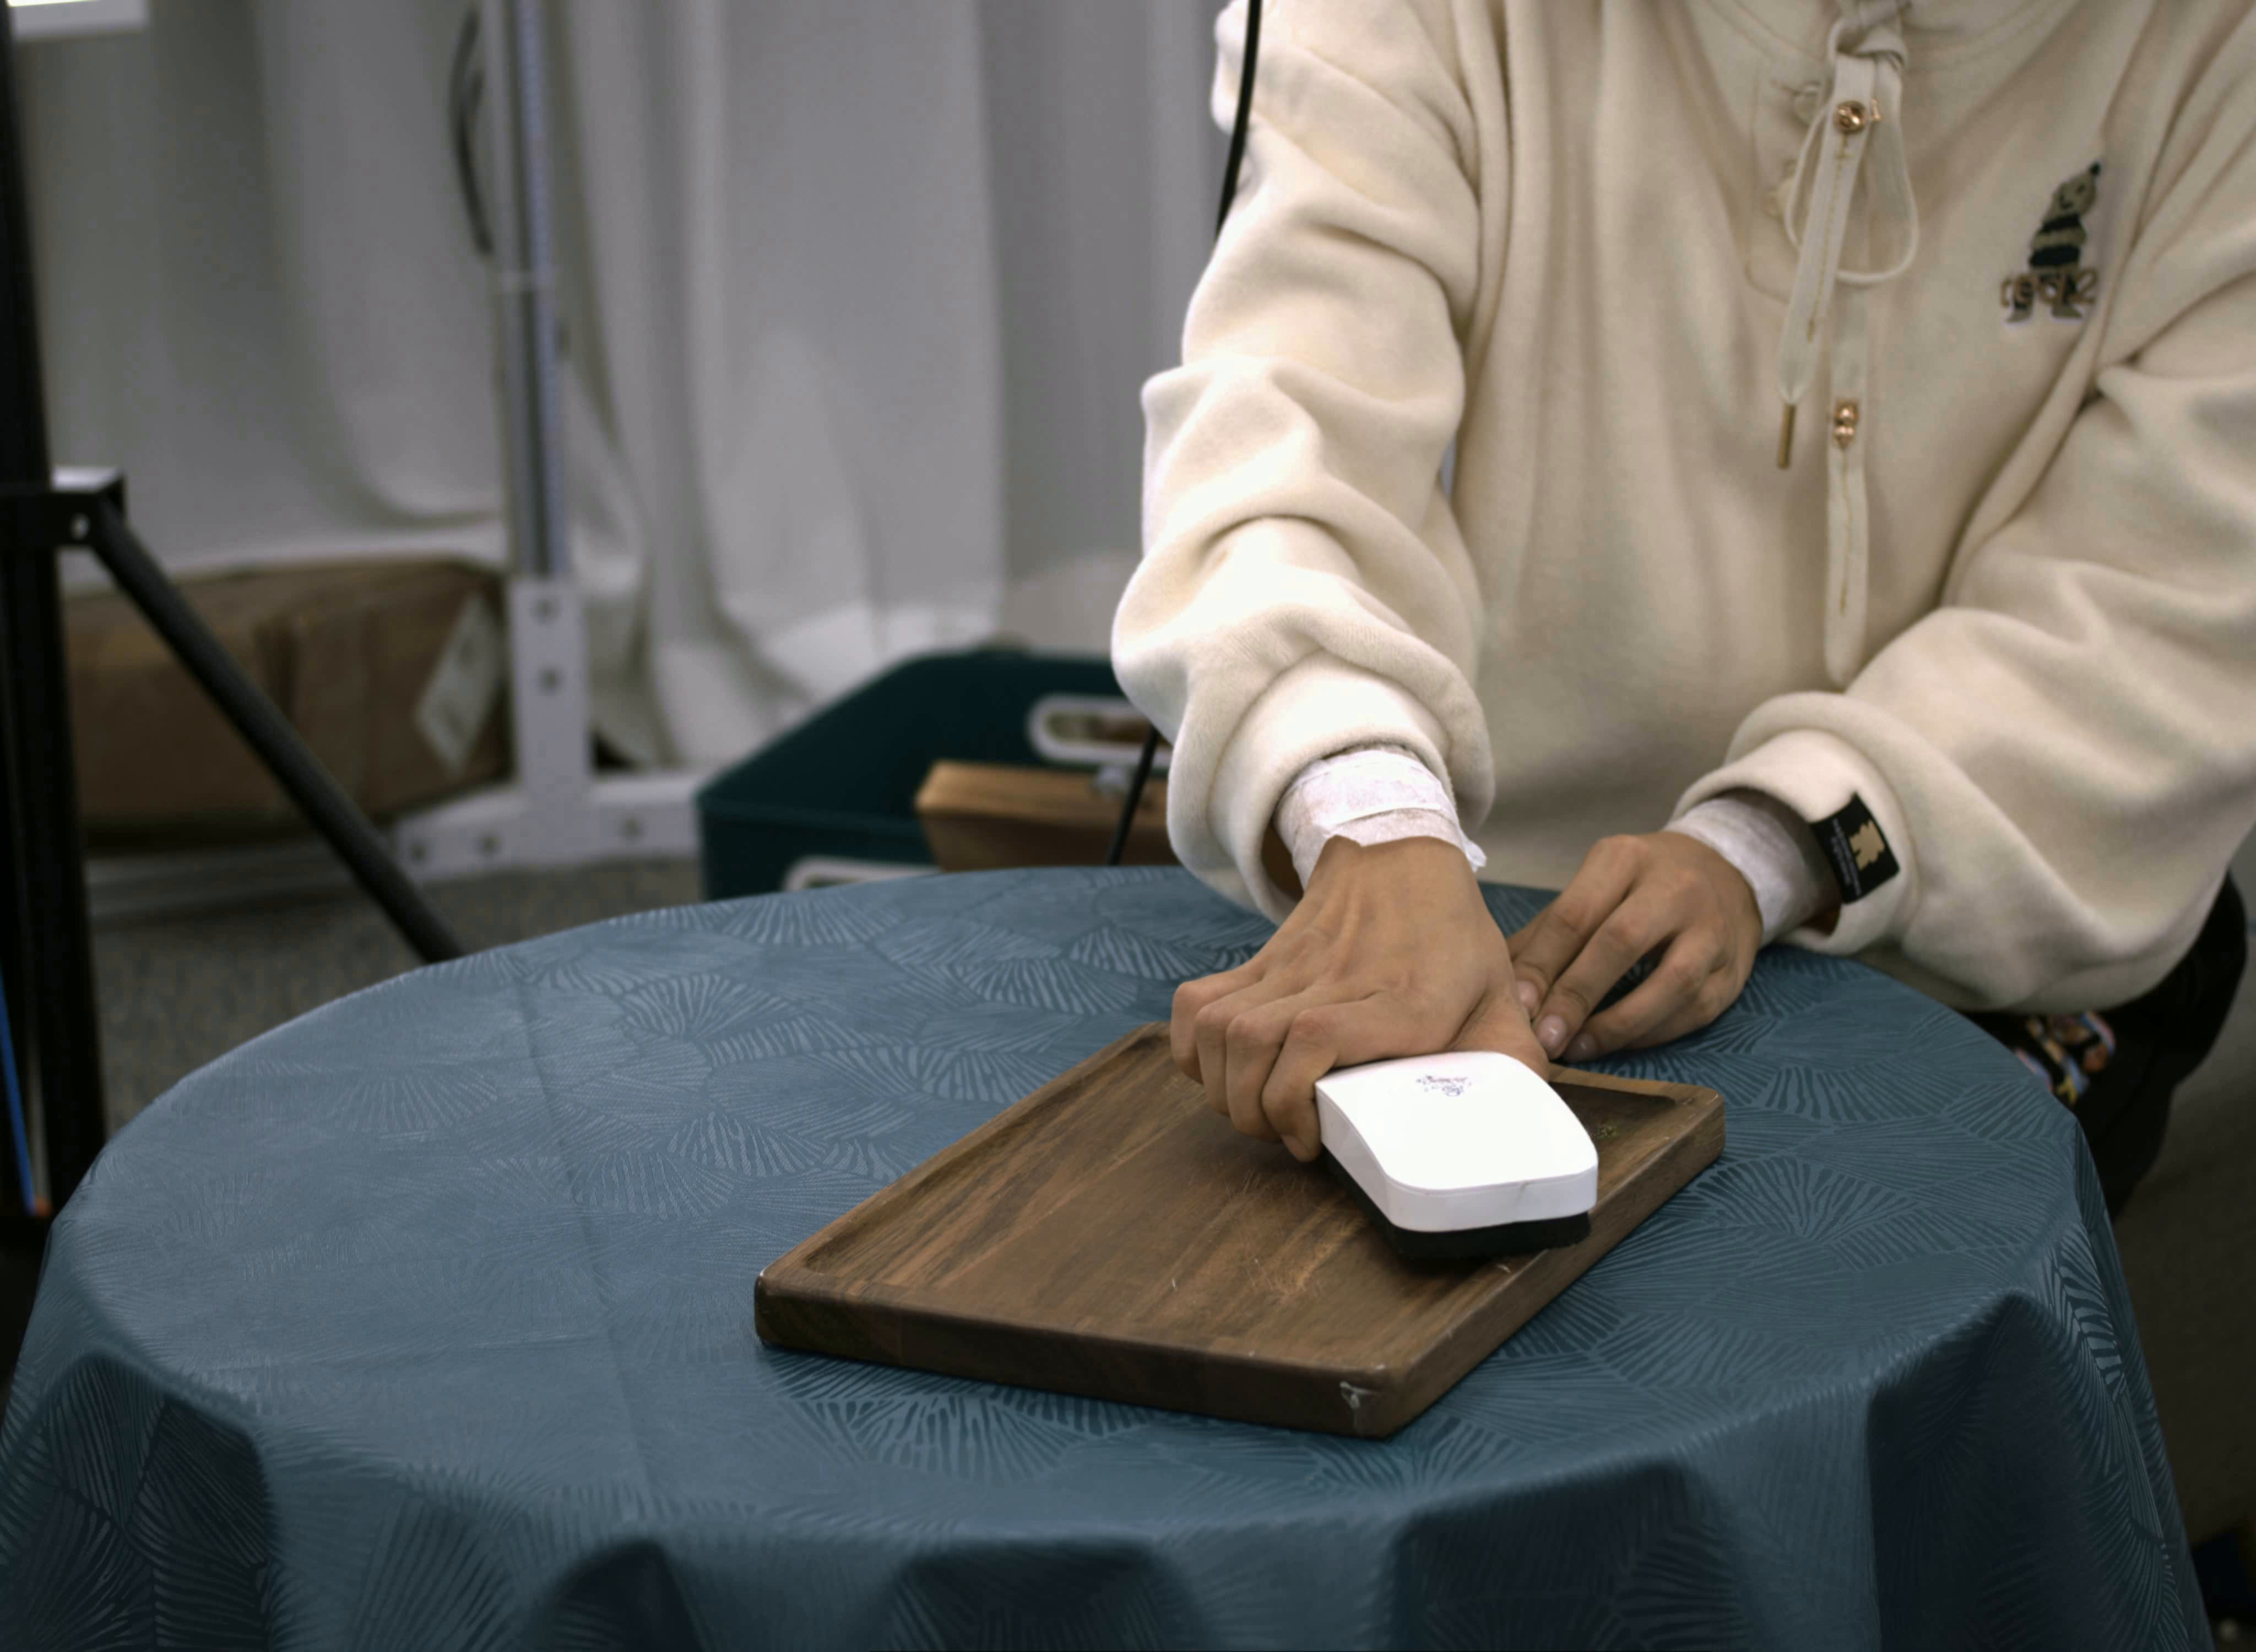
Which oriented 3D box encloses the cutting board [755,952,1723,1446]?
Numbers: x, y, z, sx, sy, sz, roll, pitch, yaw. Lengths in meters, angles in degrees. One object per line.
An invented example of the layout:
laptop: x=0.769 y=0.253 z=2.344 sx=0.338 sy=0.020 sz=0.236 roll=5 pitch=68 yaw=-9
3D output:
cutting board: x=0.059 y=0.097 z=1.548 sx=0.204 sy=0.023 sz=0.346 roll=6 pitch=18 yaw=26

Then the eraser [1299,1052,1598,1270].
eraser: x=0.090 y=0.090 z=1.488 sx=0.063 sy=0.034 sz=0.133 roll=-6 pitch=14 yaw=-9
